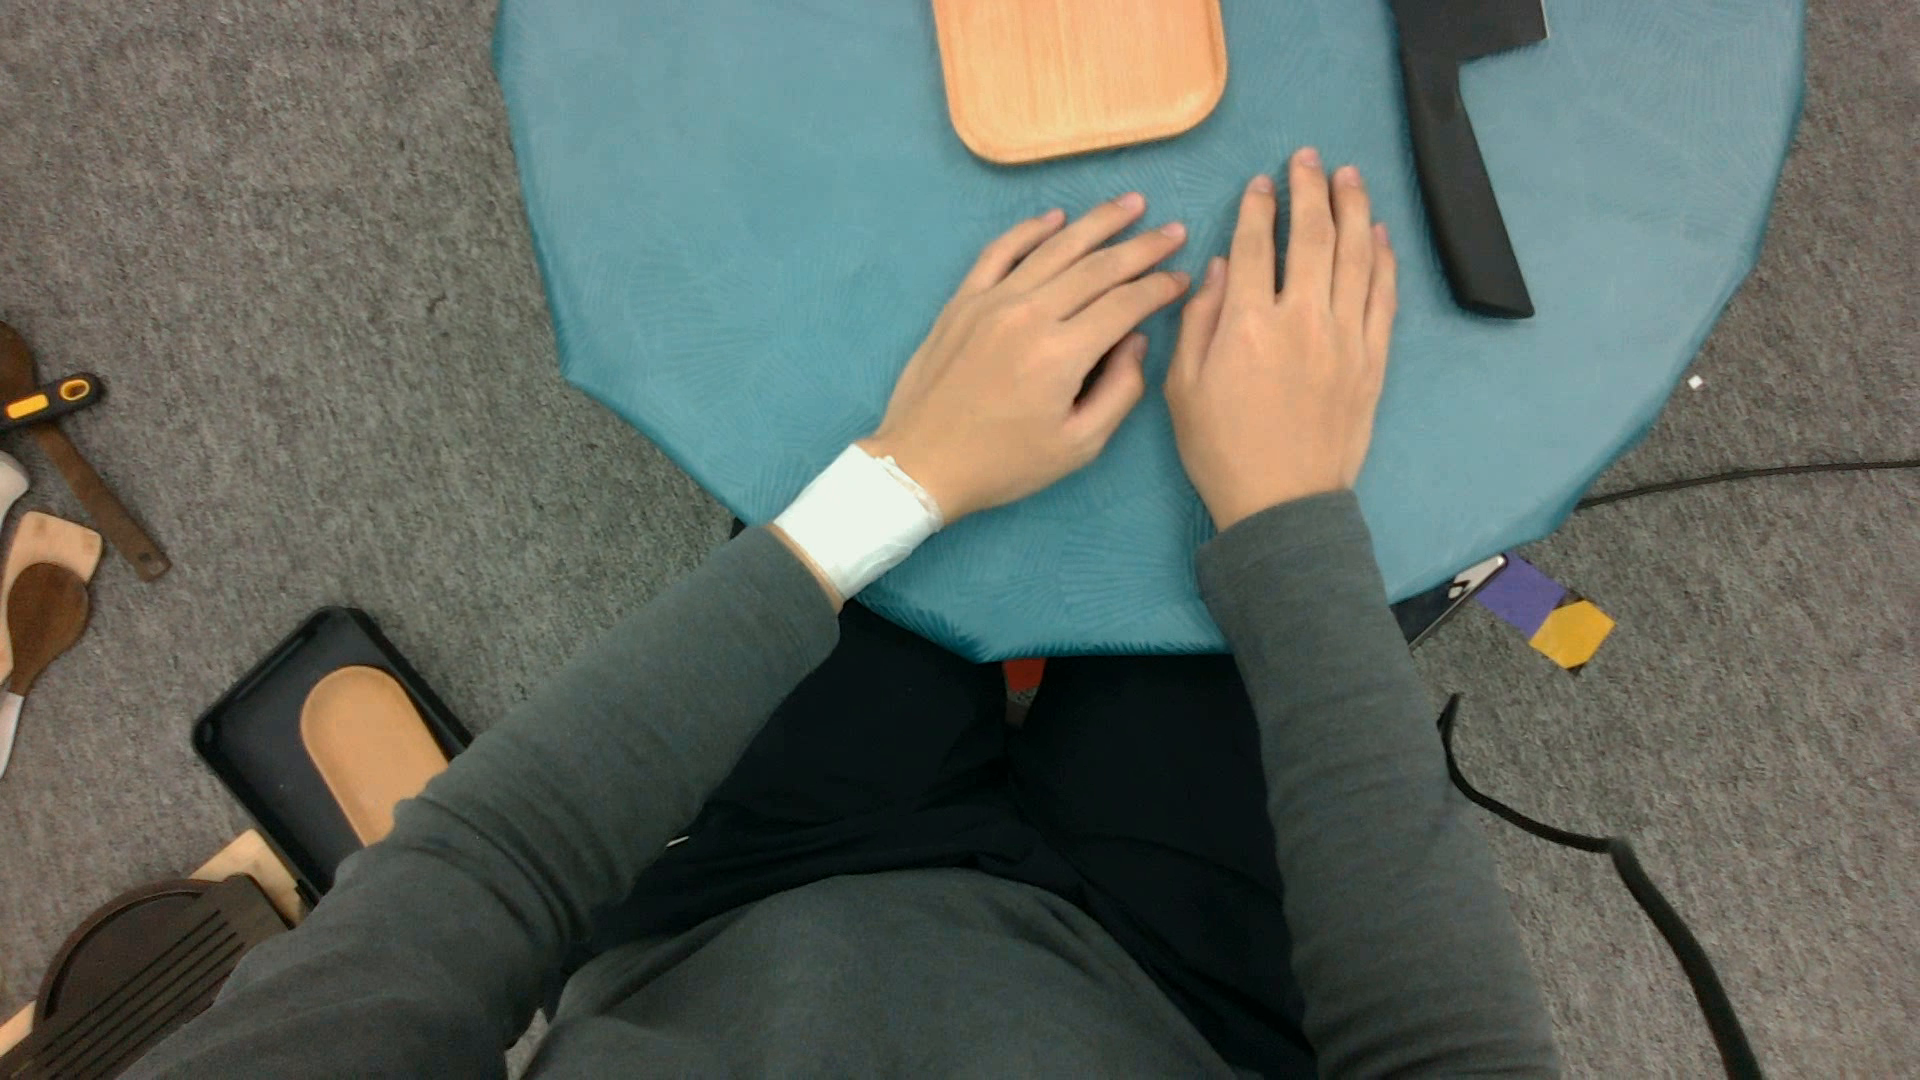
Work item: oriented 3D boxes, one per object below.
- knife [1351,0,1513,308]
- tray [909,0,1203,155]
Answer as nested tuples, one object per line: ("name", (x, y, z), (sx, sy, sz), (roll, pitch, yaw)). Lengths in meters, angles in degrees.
("knife", (0.212, -0.254, 0.628), (0.081, 0.021, 0.302), (-8, 88, 1))
("tray", (0.033, -0.306, 0.634), (0.130, 0.023, 0.250), (-8, 90, 5))
